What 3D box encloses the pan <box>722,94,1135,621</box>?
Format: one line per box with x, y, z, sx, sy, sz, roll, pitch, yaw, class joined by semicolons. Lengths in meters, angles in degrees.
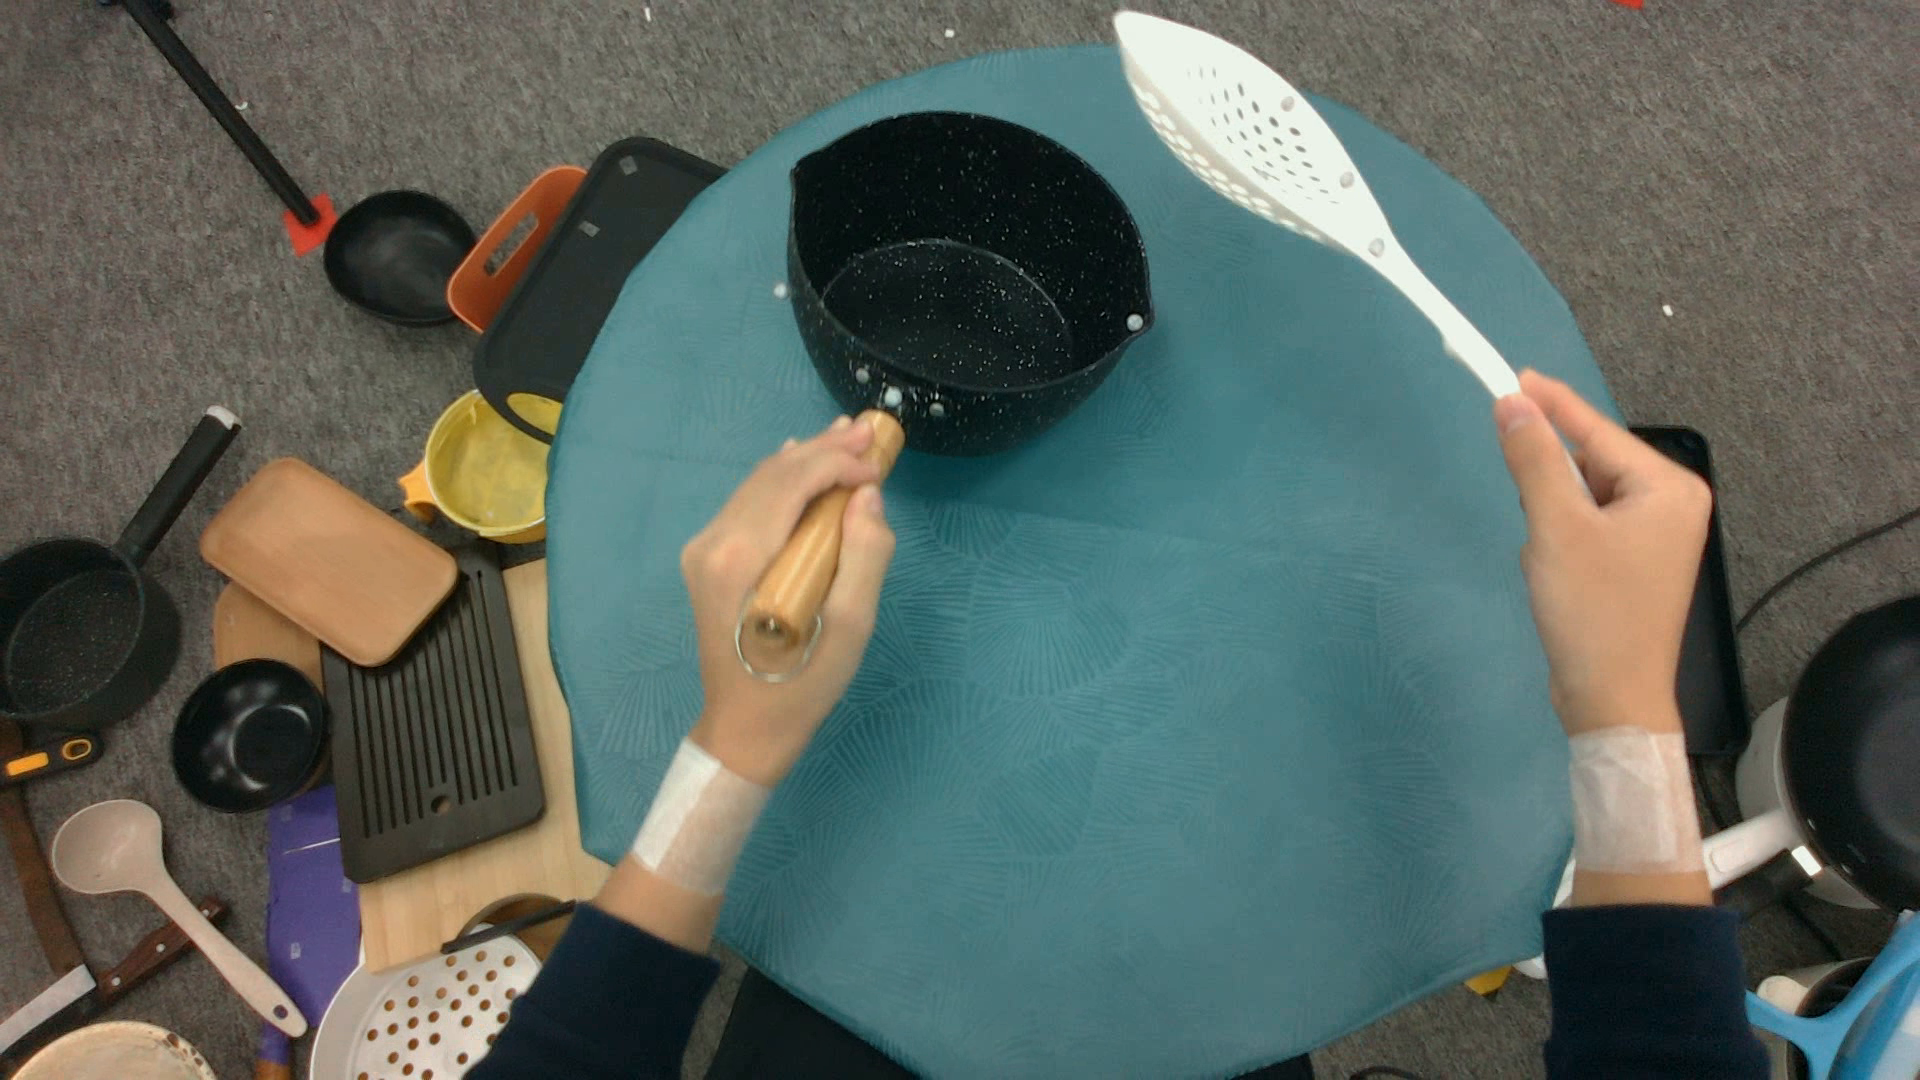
-0.035;-0.081;0.676;0.207;0.107;0.344;22;56;-1;pan

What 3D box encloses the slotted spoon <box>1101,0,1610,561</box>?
0.180;-0.131;0.635;0.137;0.050;0.348;-7;51;-46;slotted spoon
